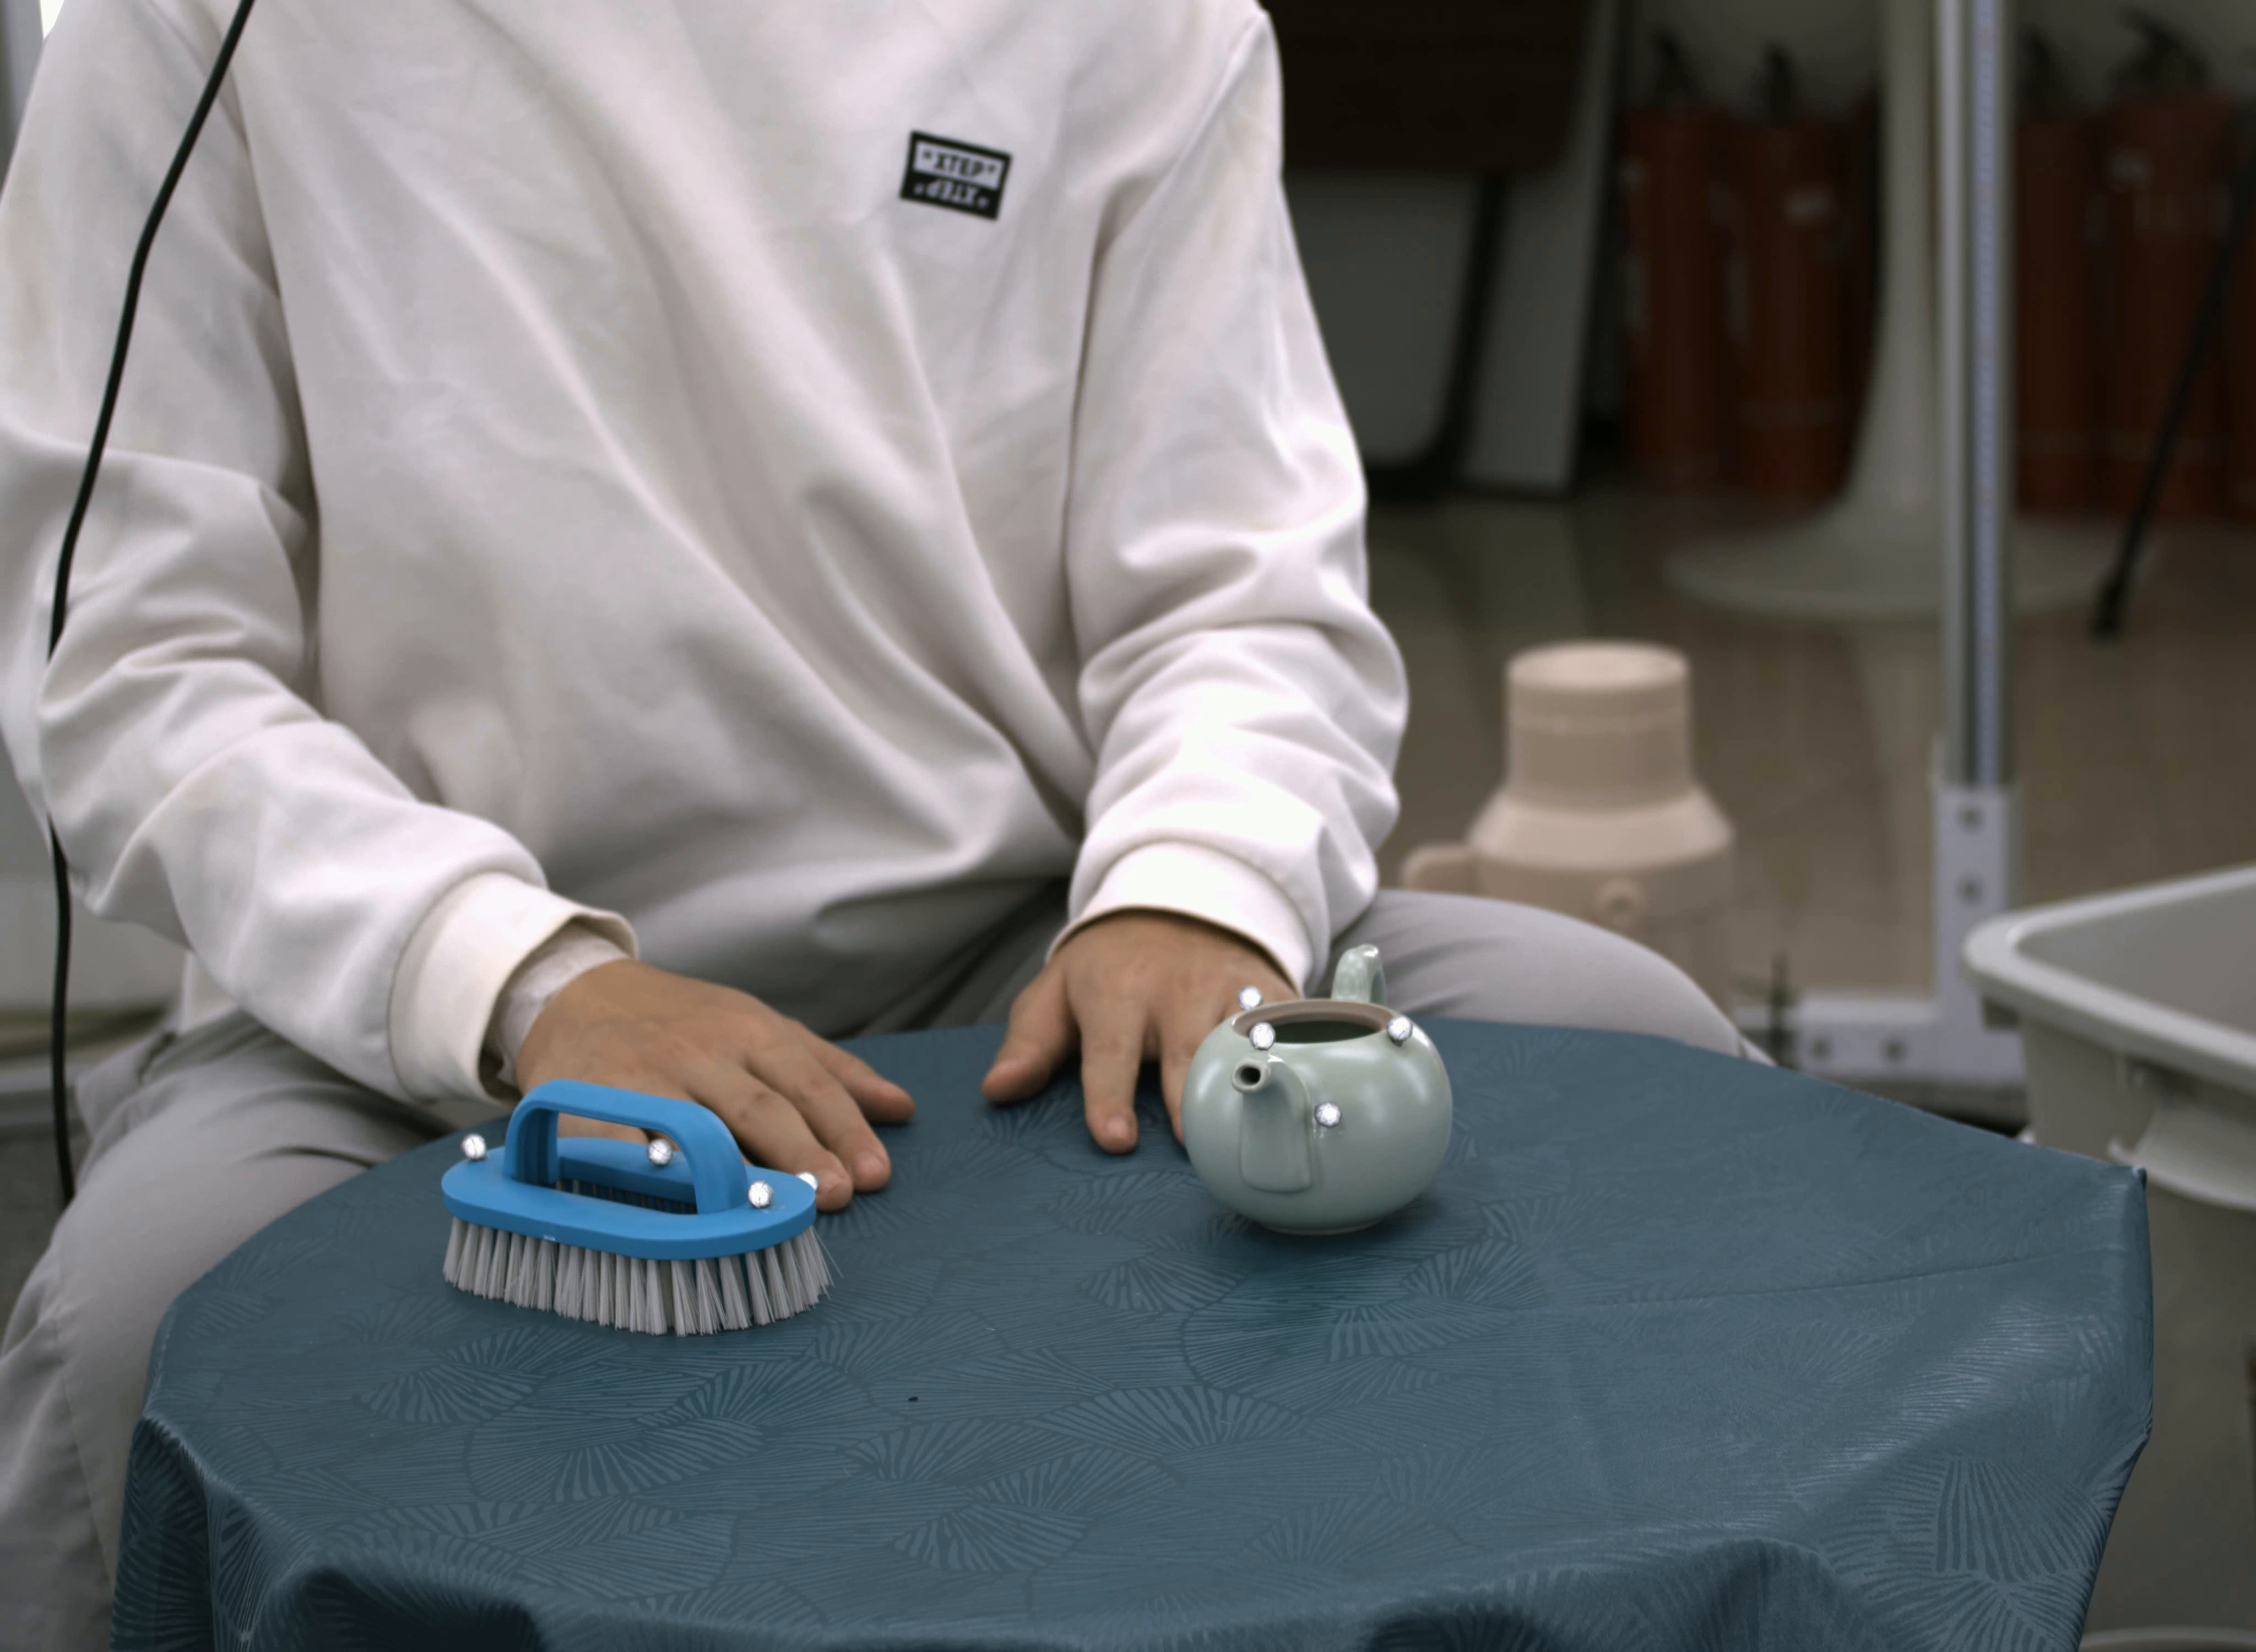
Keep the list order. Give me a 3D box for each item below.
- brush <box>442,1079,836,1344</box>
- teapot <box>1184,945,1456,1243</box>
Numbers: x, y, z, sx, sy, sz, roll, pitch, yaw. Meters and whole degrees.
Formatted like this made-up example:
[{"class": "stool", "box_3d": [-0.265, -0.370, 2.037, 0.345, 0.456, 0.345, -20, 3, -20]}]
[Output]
[{"class": "brush", "box_3d": [-0.158, 0.115, 1.709, 0.143, 0.064, 0.083, 7, 21, 41]}, {"class": "teapot", "box_3d": [0.062, 0.092, 1.728, 0.088, 0.075, 0.142, 0, 16, 22]}]
